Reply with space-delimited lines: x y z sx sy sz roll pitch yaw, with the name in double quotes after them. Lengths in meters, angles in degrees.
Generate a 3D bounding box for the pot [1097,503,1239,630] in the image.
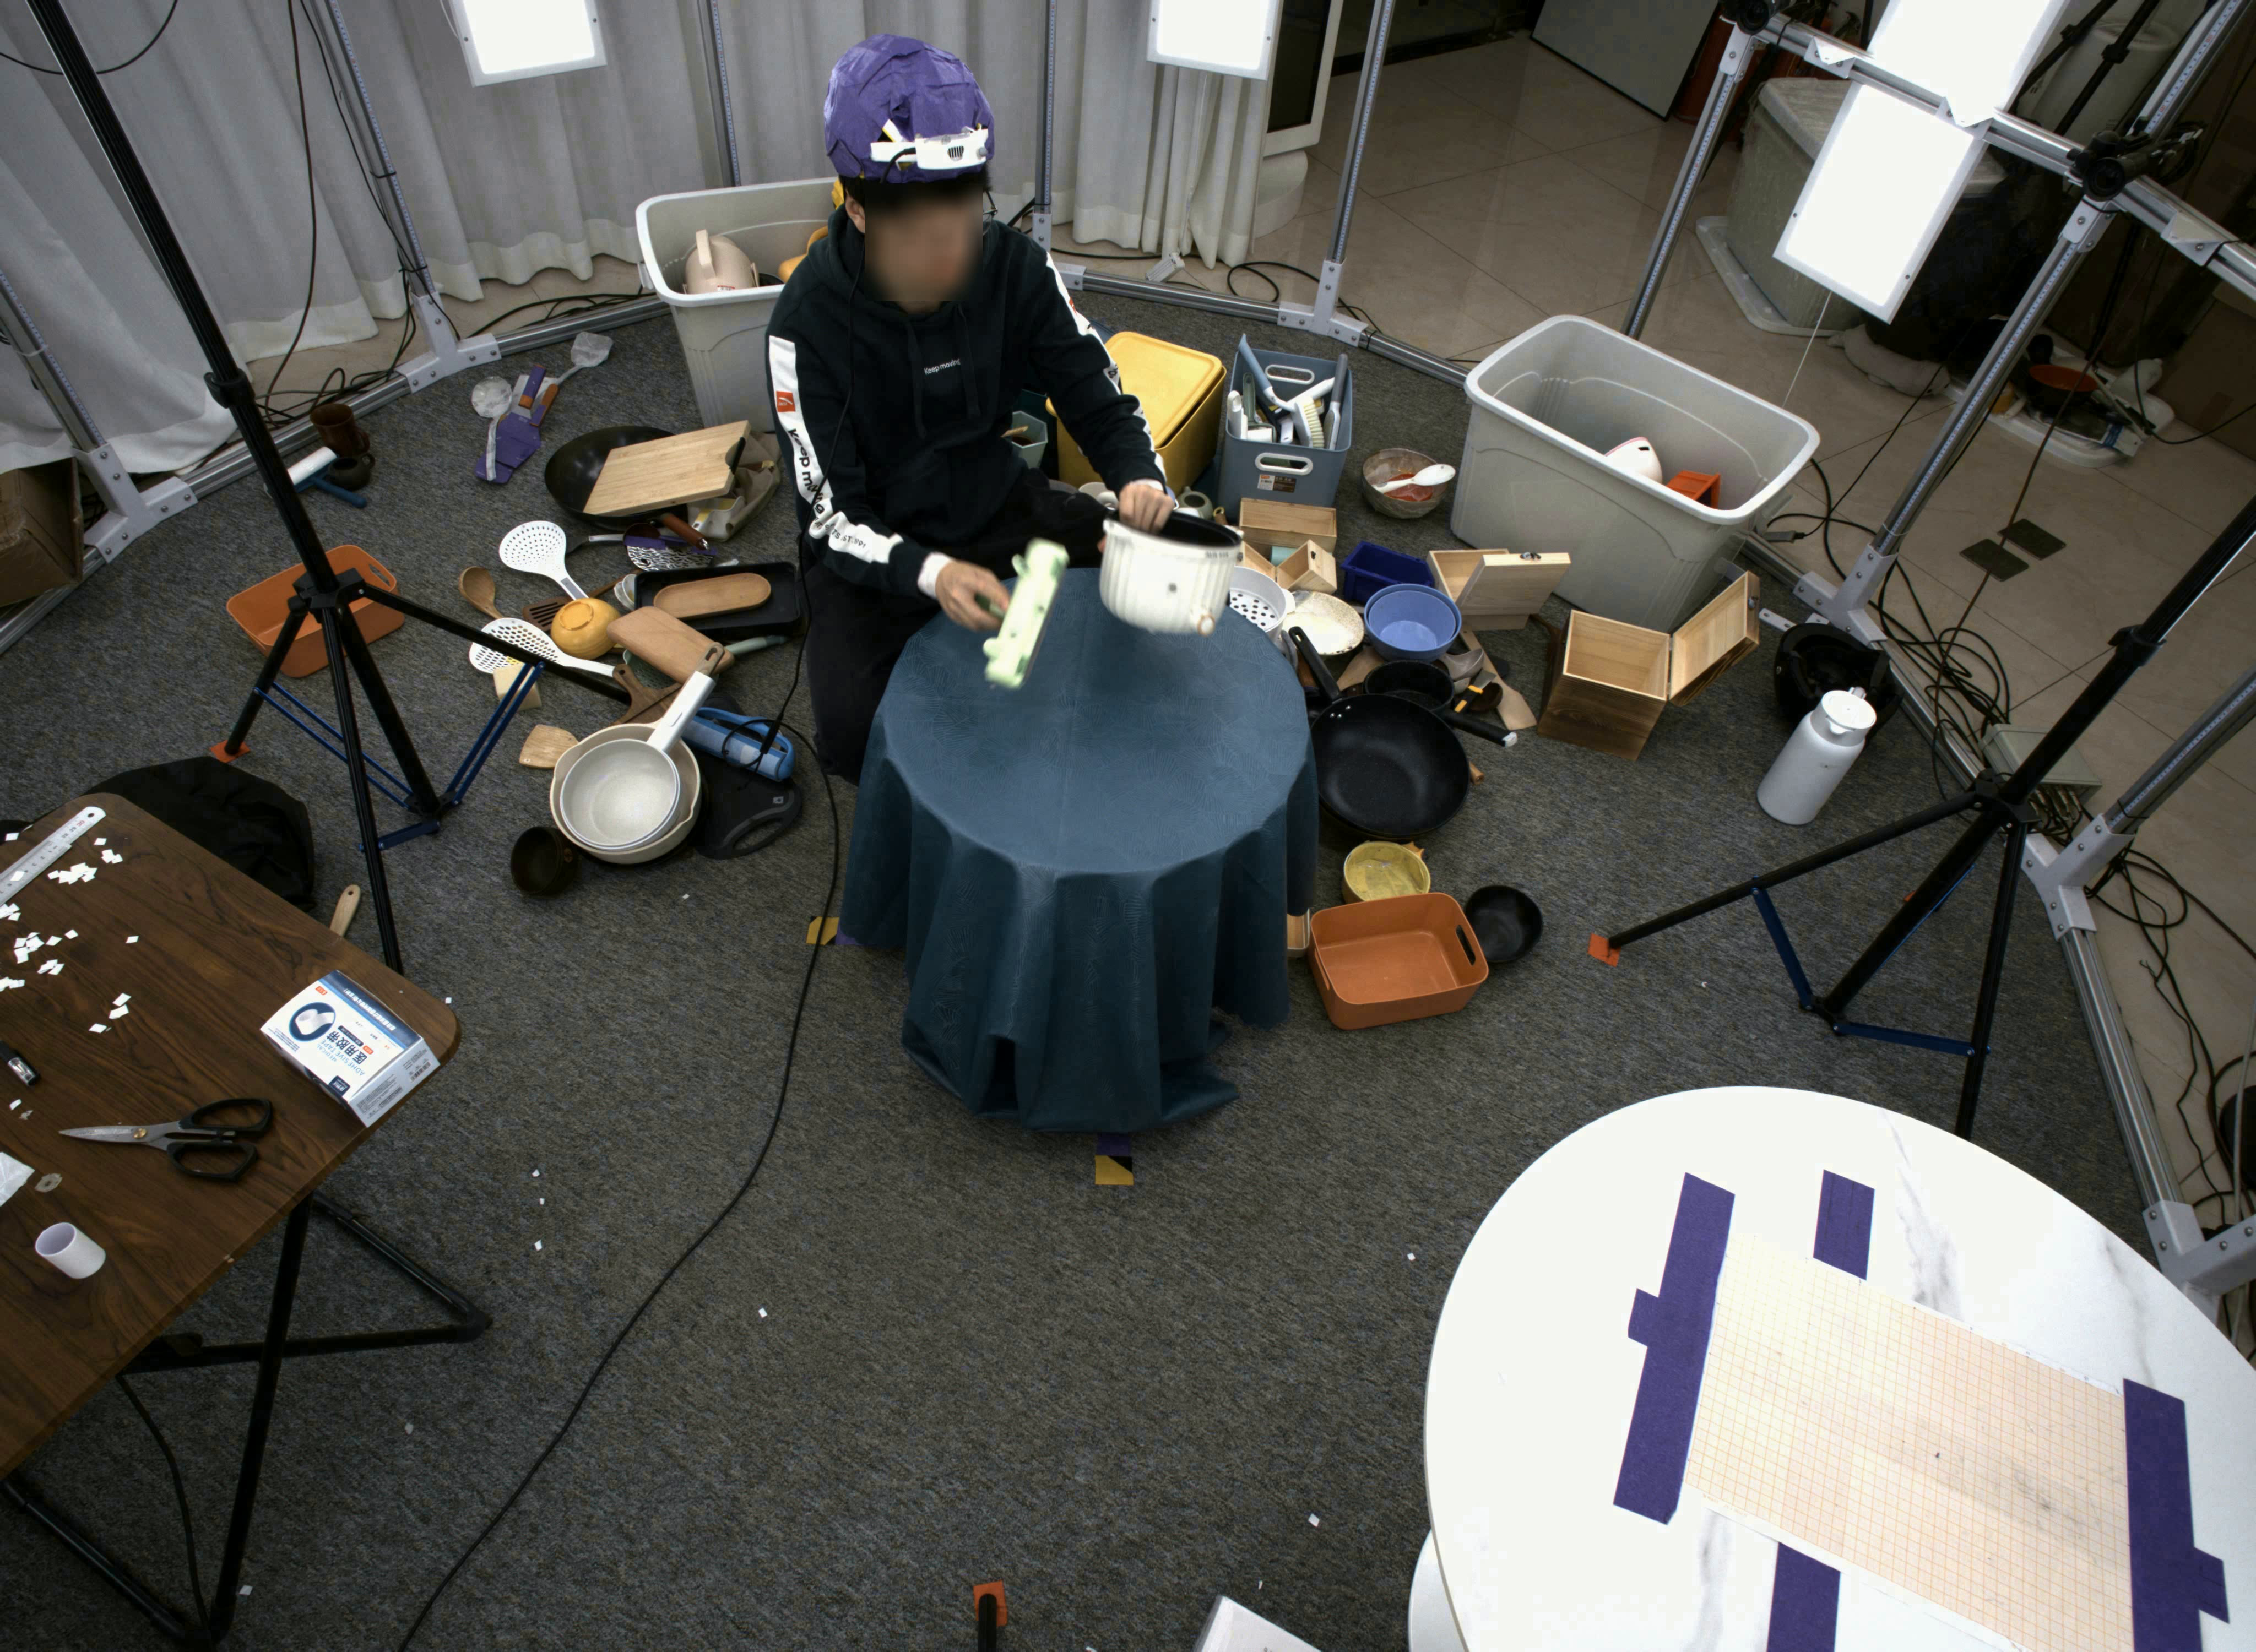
0.053 -0.351 1.762 0.240 0.140 0.193 -8 26 -39 "pot"

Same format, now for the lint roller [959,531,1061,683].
-0.181 -0.306 1.740 0.185 0.198 0.081 17 4 36 "lint roller"
